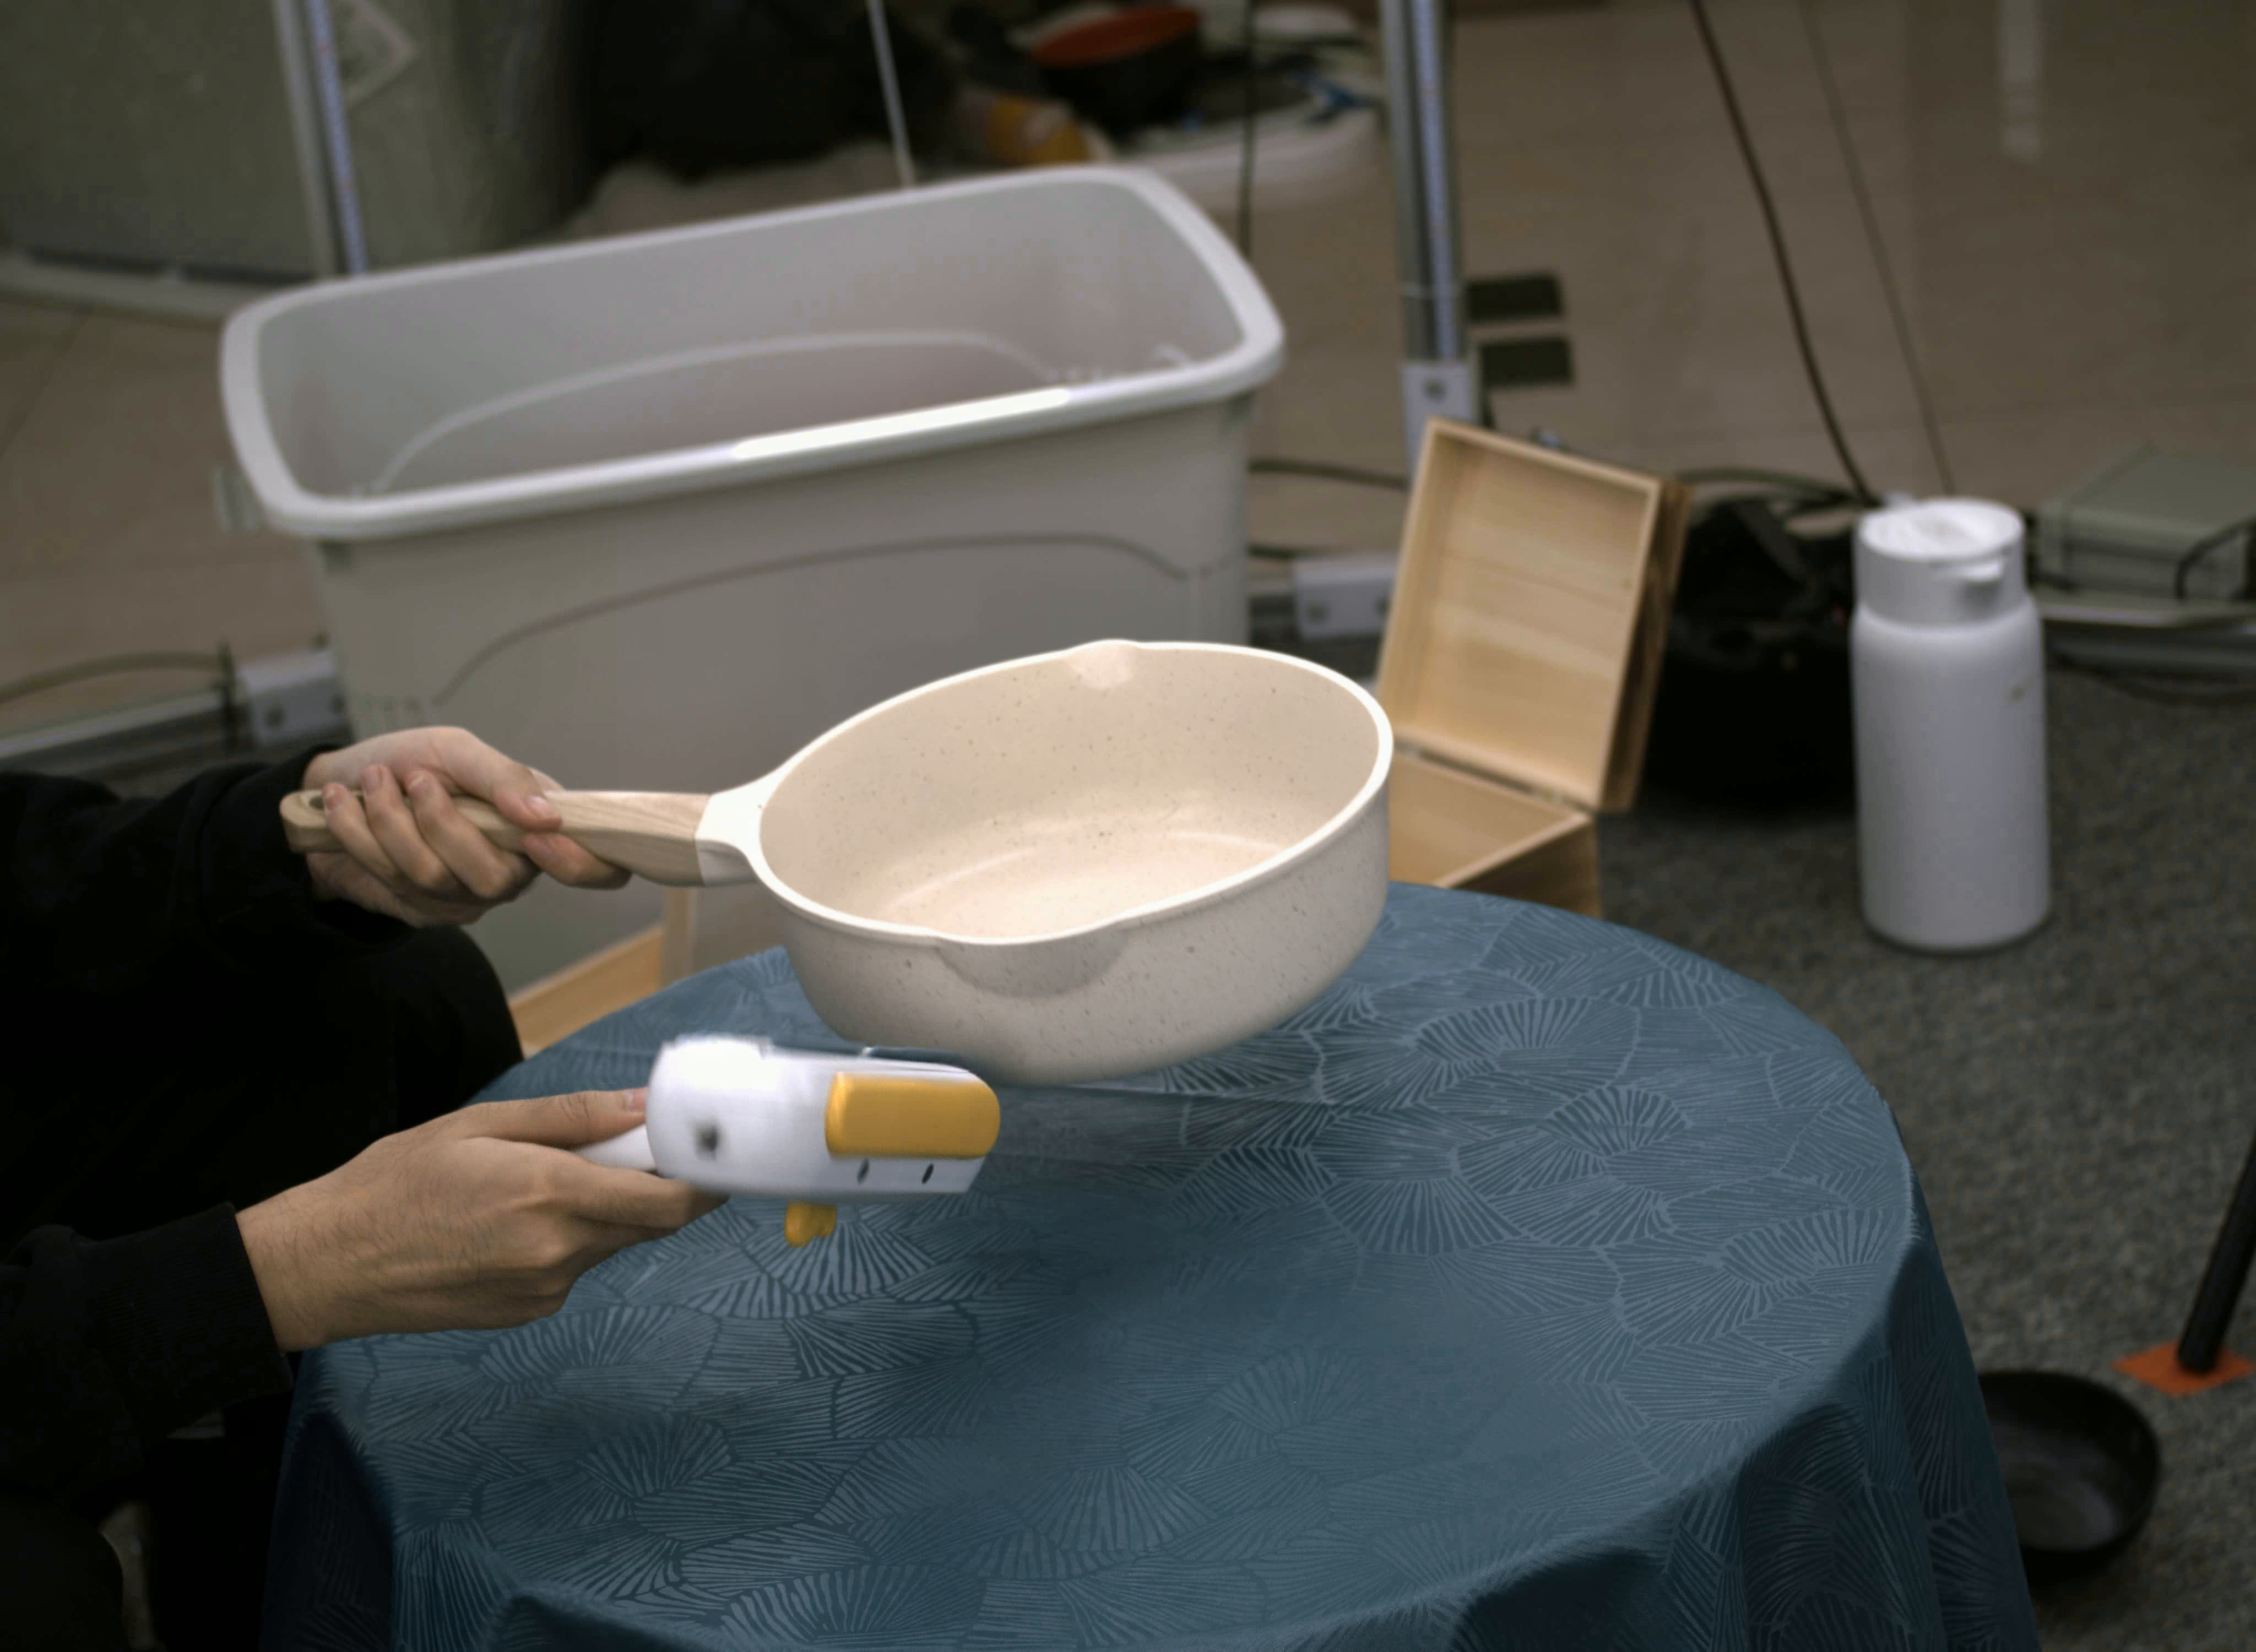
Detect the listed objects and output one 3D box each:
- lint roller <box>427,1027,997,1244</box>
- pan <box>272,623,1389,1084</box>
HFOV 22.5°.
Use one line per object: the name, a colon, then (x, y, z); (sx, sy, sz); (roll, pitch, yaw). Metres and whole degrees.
lint roller: (-0.161, 0.111, 1.987); (0.192, 0.074, 0.193); (-5, -4, 25)
pan: (-0.110, 0.017, 2.184); (0.434, 0.104, 0.259); (-6, 28, 9)
